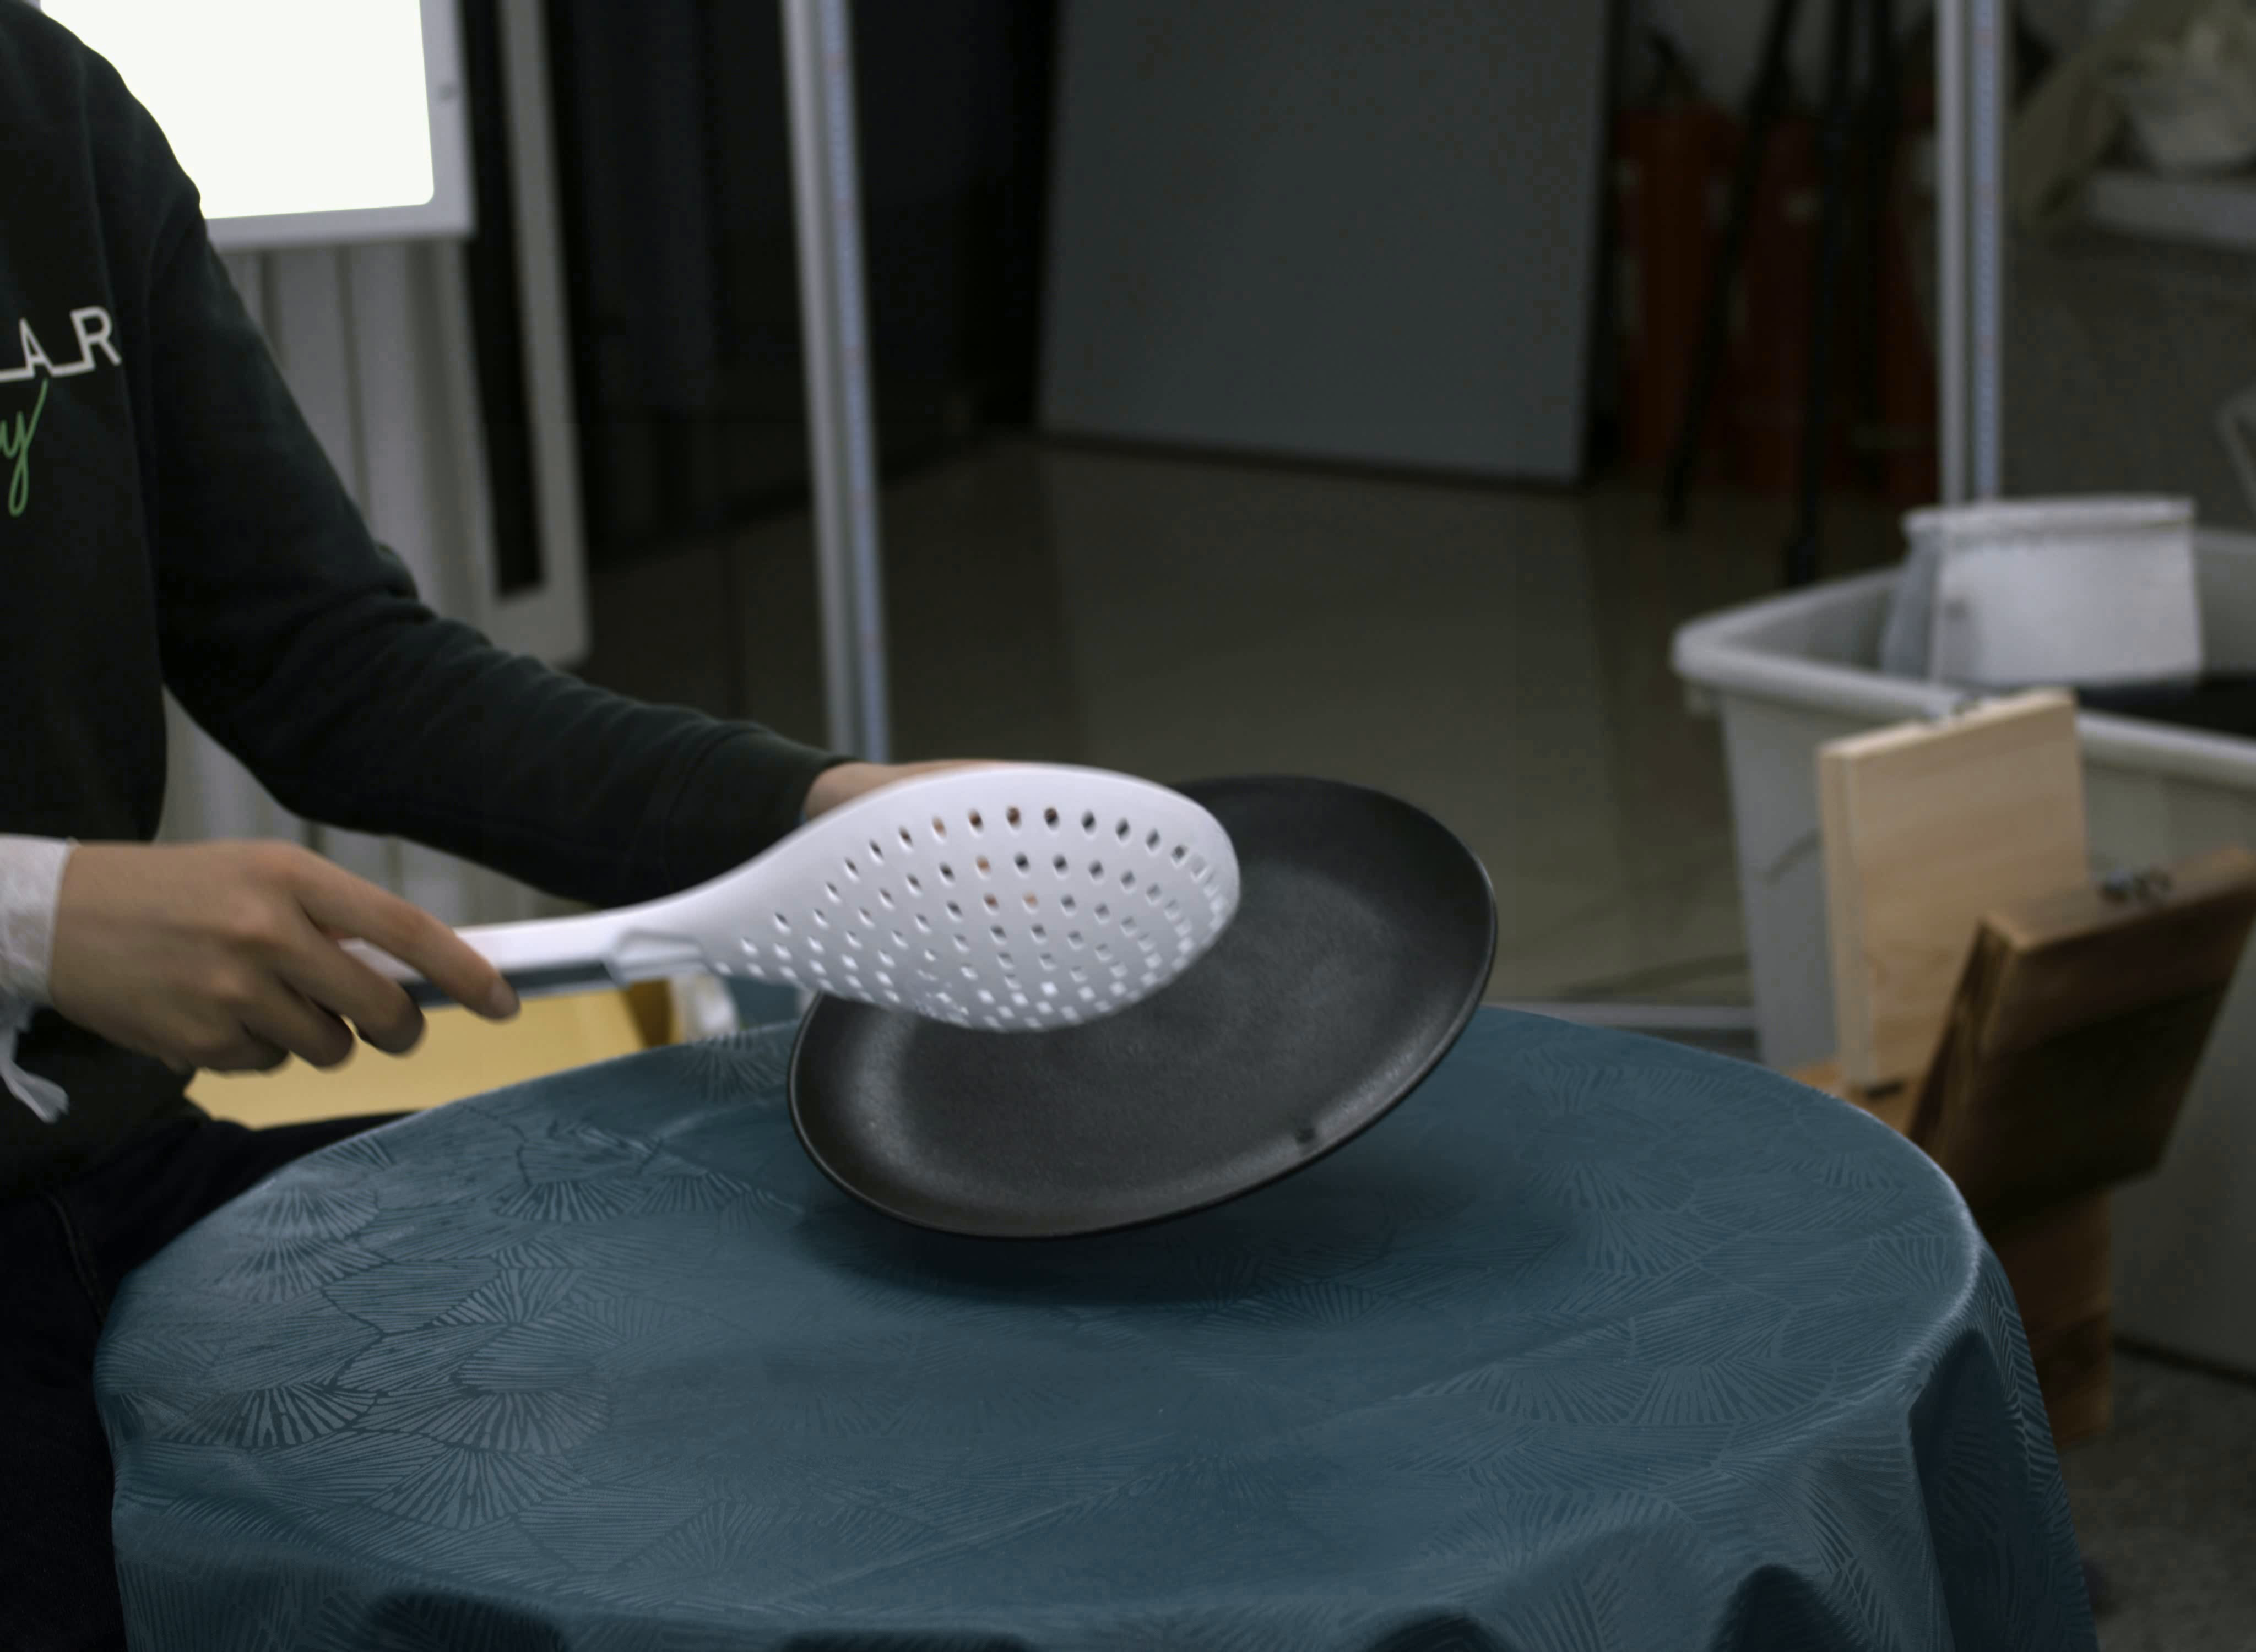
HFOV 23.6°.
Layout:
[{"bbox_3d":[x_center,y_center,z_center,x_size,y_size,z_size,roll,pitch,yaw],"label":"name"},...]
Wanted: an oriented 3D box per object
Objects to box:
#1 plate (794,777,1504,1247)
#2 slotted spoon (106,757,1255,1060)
[{"bbox_3d":[0.008,0.065,1.761,0.243,0.023,0.246,-15,32,9],"label":"plate"},{"bbox_3d":[-0.134,0.036,1.592,0.348,0.046,0.135,-3,-30,13],"label":"slotted spoon"}]
